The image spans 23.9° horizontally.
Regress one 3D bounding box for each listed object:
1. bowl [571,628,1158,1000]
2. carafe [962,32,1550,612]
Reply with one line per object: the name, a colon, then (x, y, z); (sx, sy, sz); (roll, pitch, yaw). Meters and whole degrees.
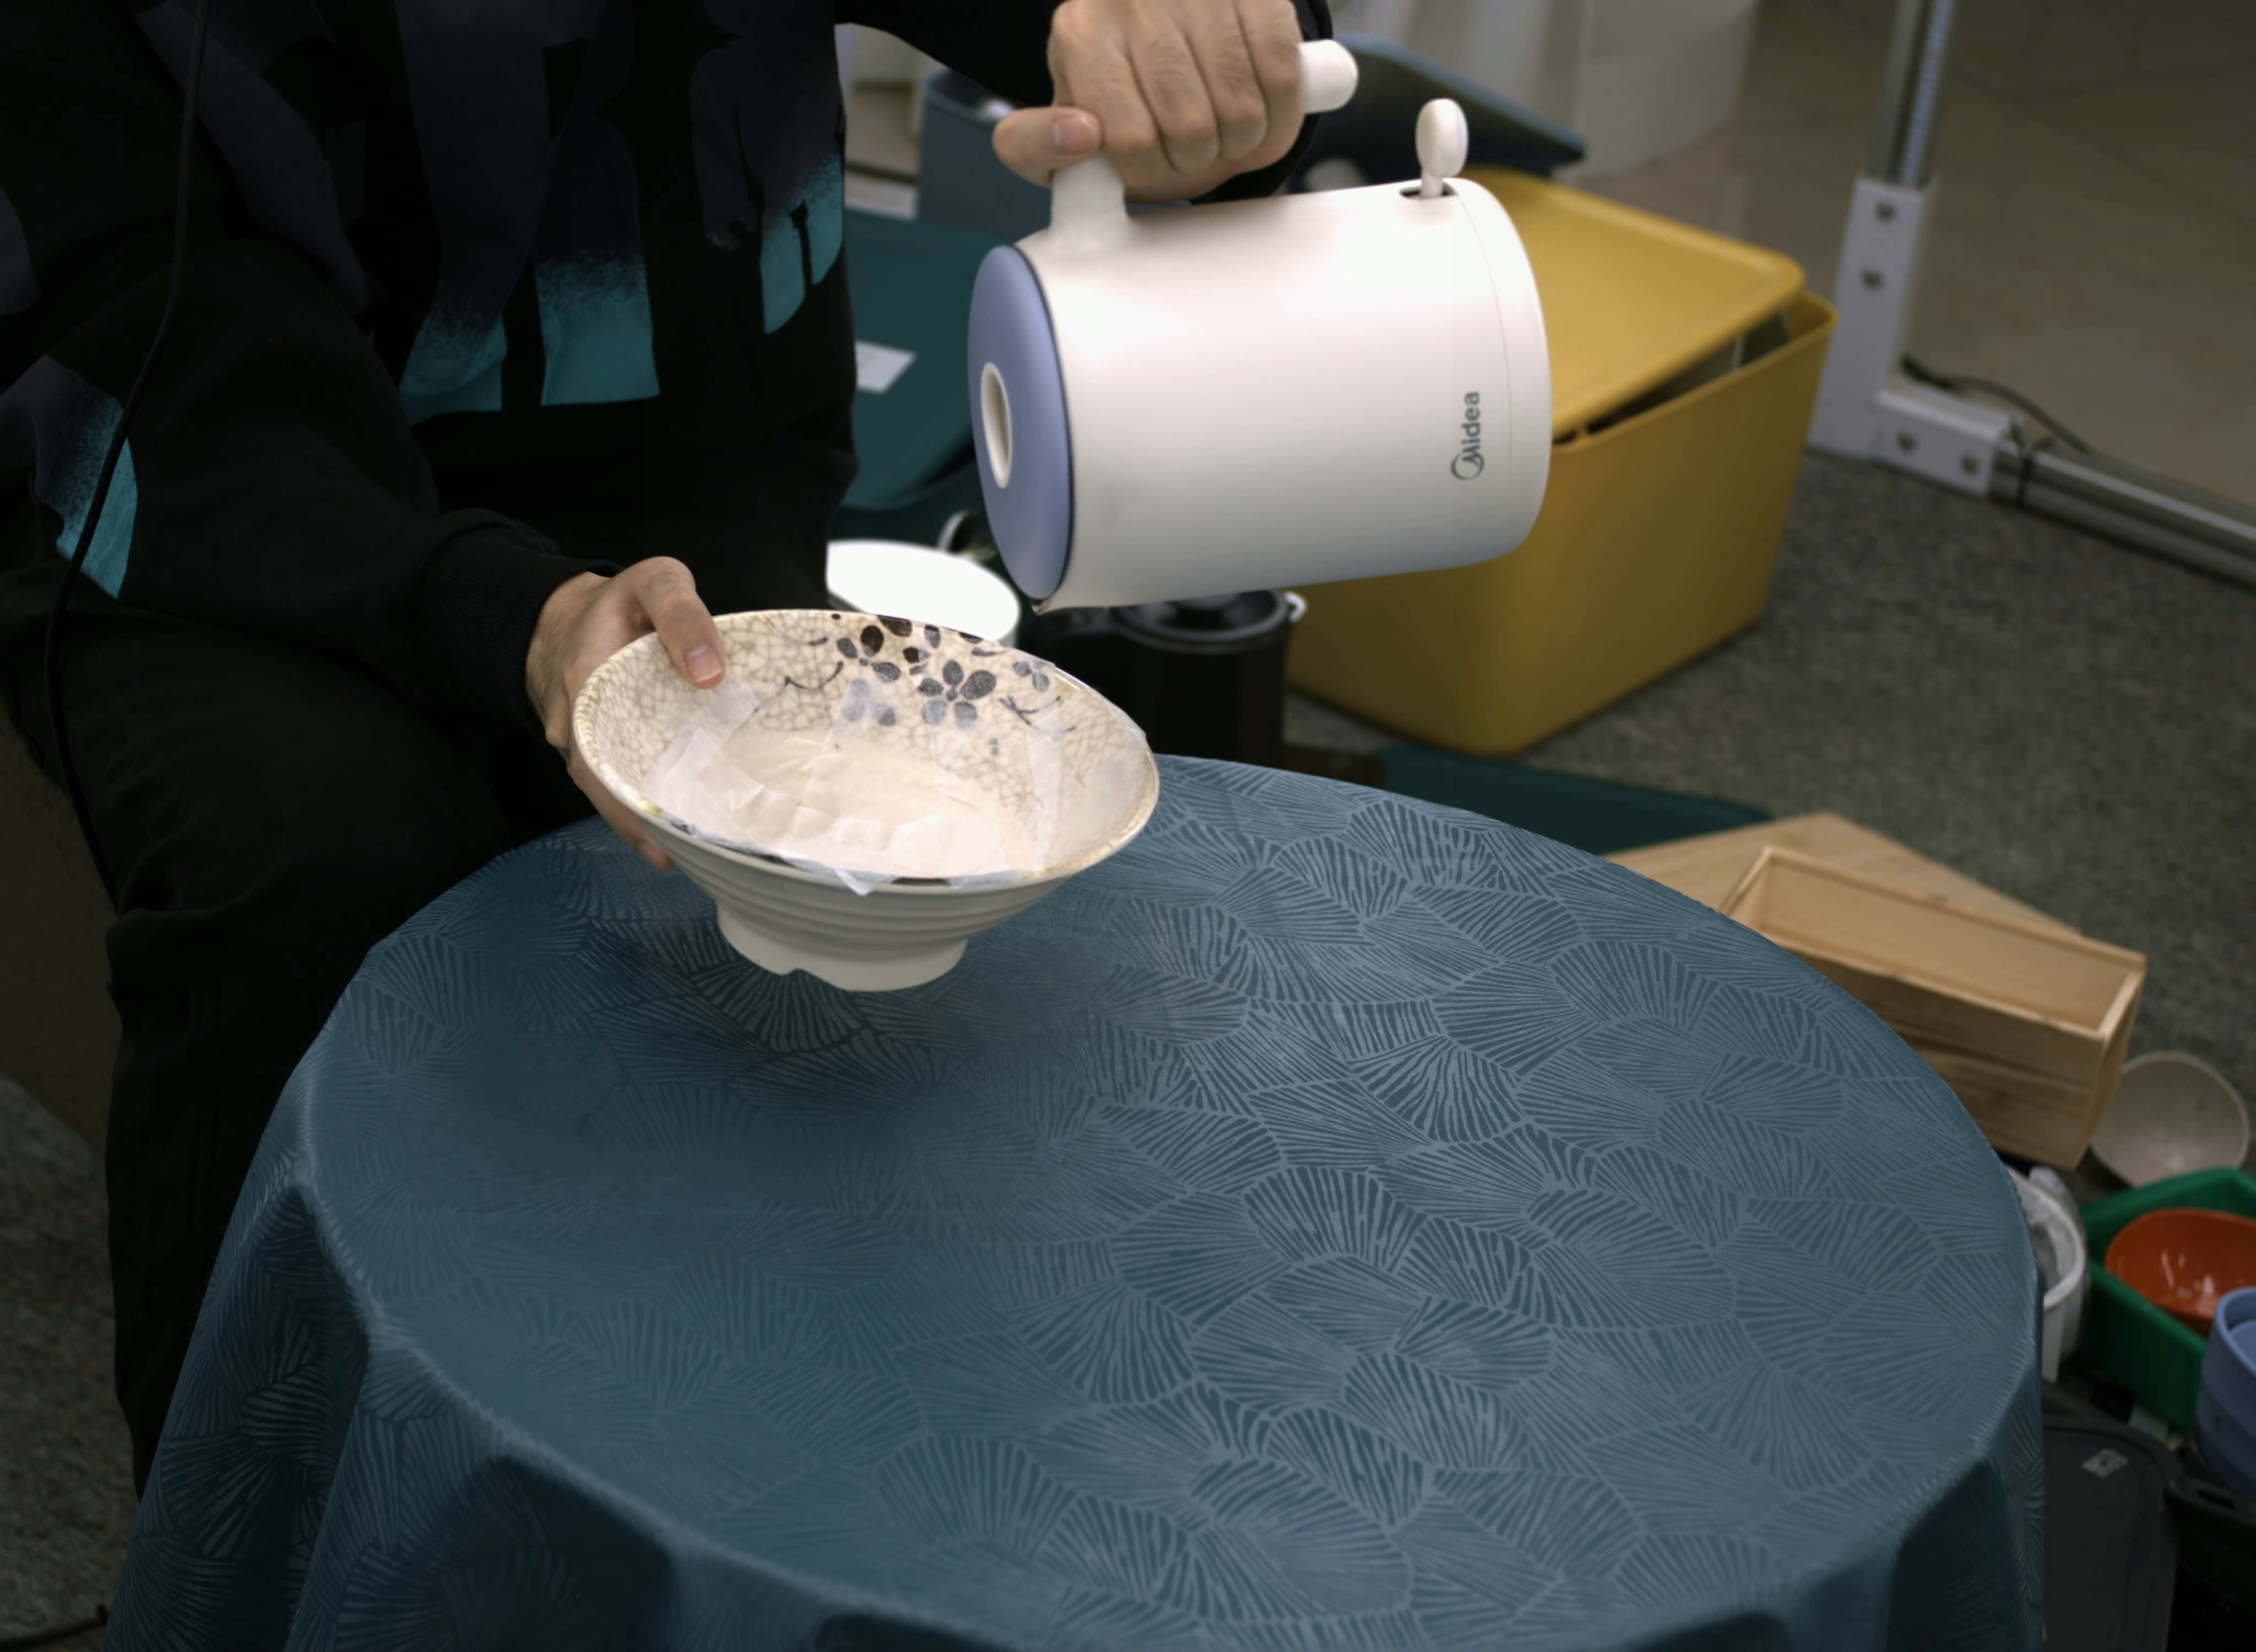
bowl: (-0.095, 0.006, 1.842); (0.203, 0.078, 0.205); (7, 24, -3)
carafe: (0.042, -0.169, 1.779); (0.181, 0.190, 0.133); (-5, 21, -15)
